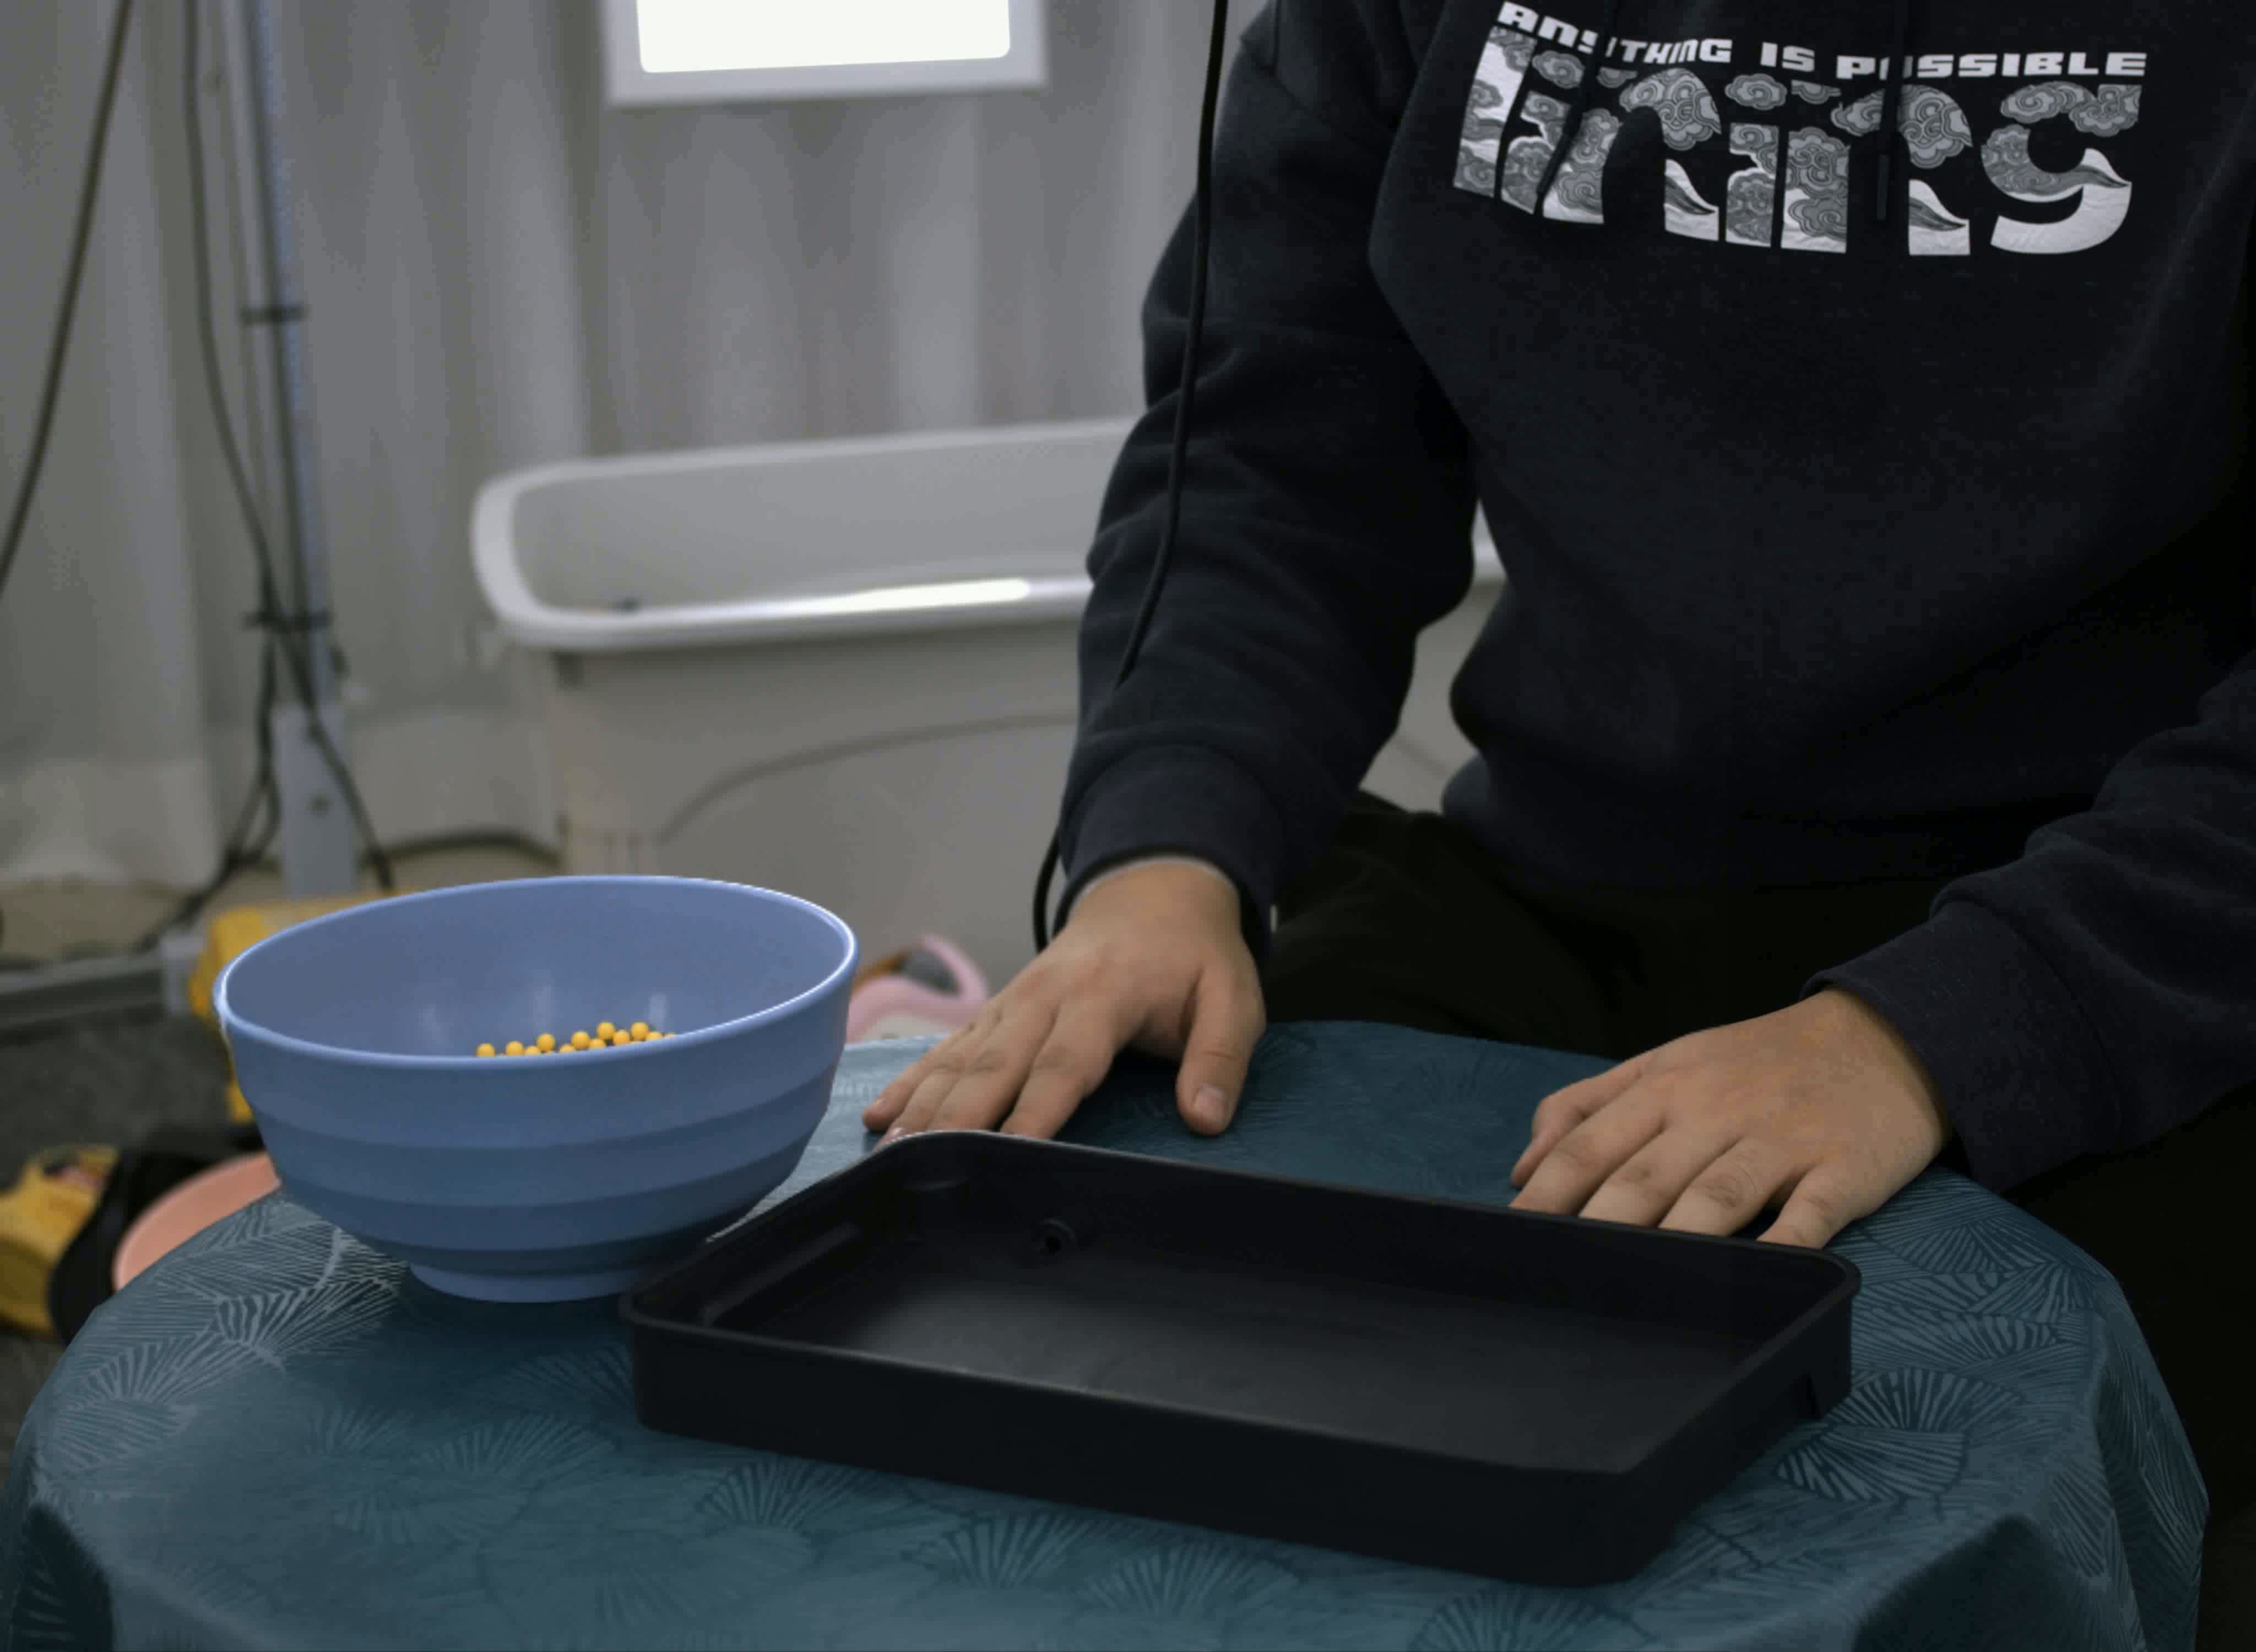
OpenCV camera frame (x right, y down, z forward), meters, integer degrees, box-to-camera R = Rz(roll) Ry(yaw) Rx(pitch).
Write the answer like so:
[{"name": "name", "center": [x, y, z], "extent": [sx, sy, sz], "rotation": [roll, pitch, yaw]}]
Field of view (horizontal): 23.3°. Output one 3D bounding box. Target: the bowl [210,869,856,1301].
[{"name": "bowl", "center": [-0.177, 0.085, 1.672], "extent": [0.196, 0.095, 0.198], "rotation": [-4, 16, 1]}]

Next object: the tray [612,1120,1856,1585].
[{"name": "tray", "center": [0.029, 0.143, 1.533], "extent": [0.319, 0.037, 0.184], "rotation": [6, 17, 29]}]
